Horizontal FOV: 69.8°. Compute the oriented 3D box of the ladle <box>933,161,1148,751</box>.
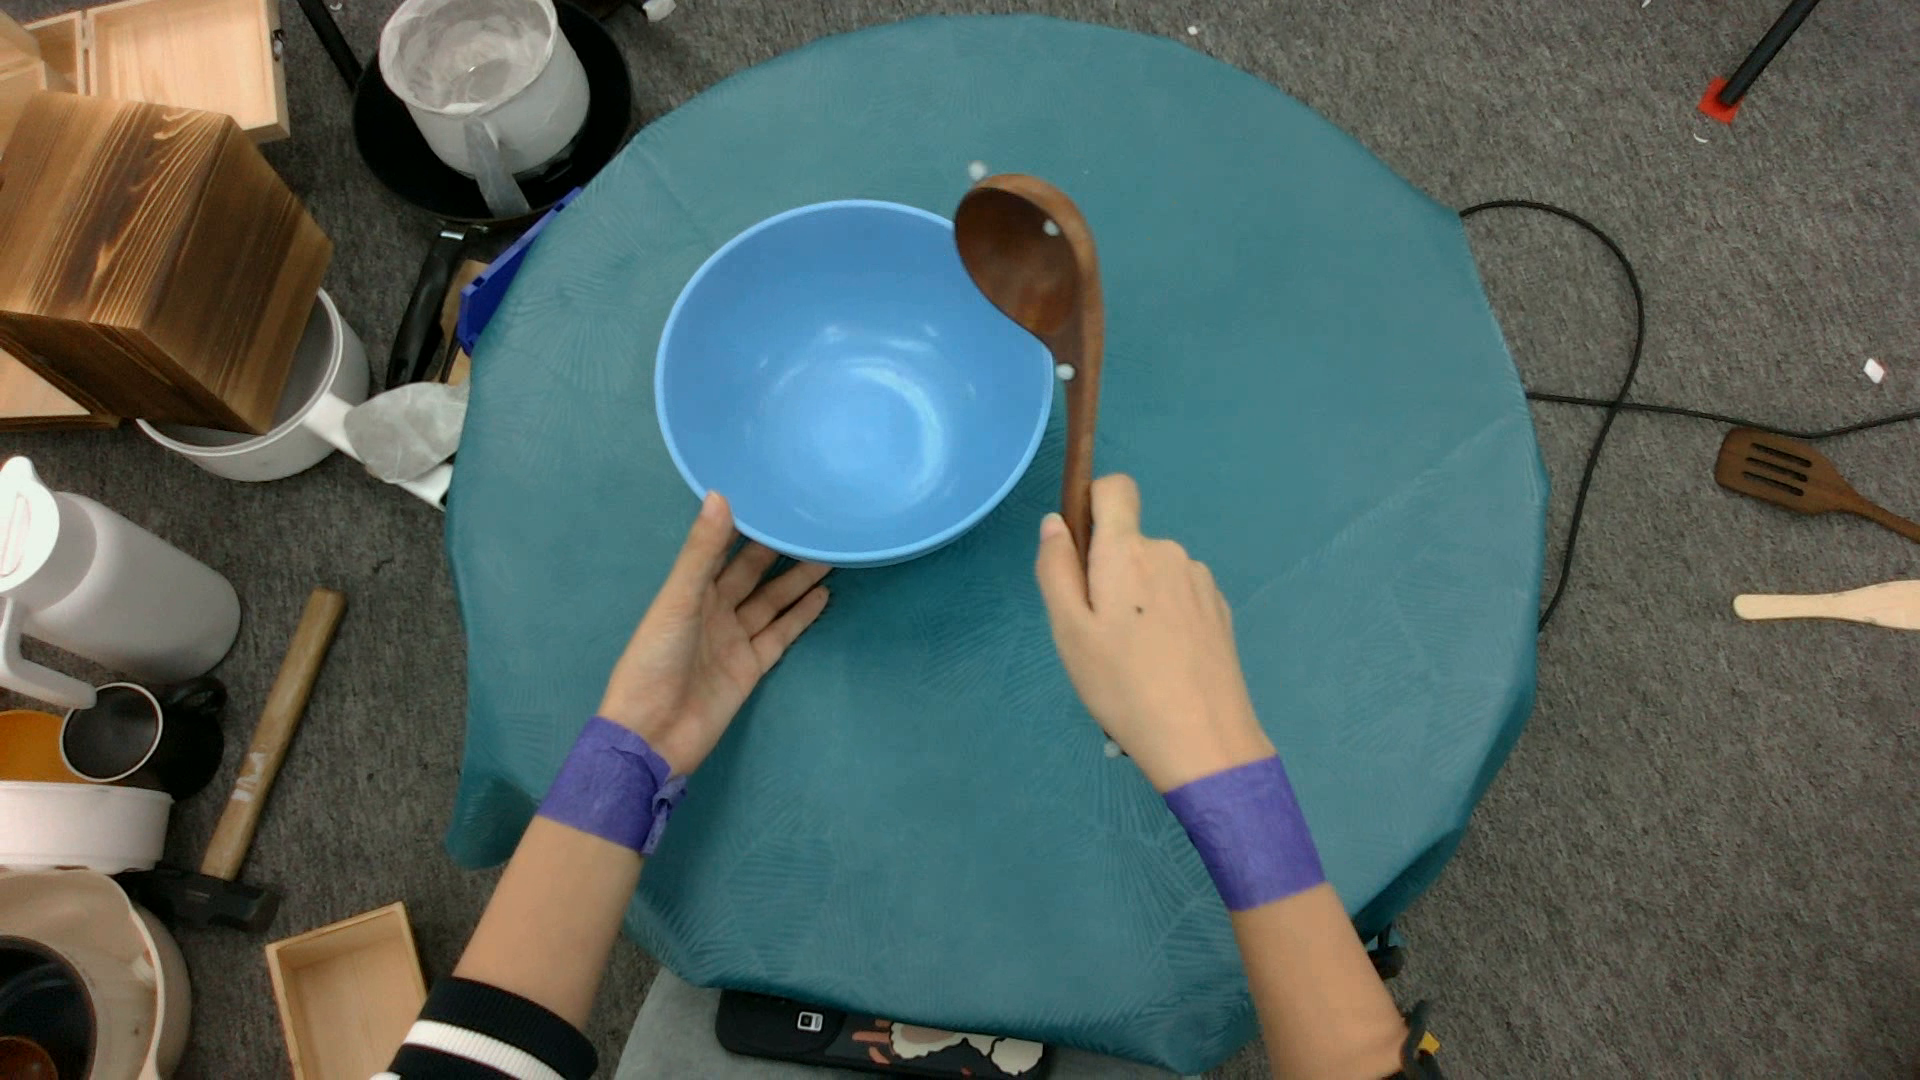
[{"bbox_3d":[0.033,-0.038,0.590,0.065,0.076,0.260,-1,76,-21],"label":"ladle"}]

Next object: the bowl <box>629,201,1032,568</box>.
[{"bbox_3d":[-0.067,-0.067,0.715,0.196,0.095,0.197,3,68,-6],"label":"bowl"}]
